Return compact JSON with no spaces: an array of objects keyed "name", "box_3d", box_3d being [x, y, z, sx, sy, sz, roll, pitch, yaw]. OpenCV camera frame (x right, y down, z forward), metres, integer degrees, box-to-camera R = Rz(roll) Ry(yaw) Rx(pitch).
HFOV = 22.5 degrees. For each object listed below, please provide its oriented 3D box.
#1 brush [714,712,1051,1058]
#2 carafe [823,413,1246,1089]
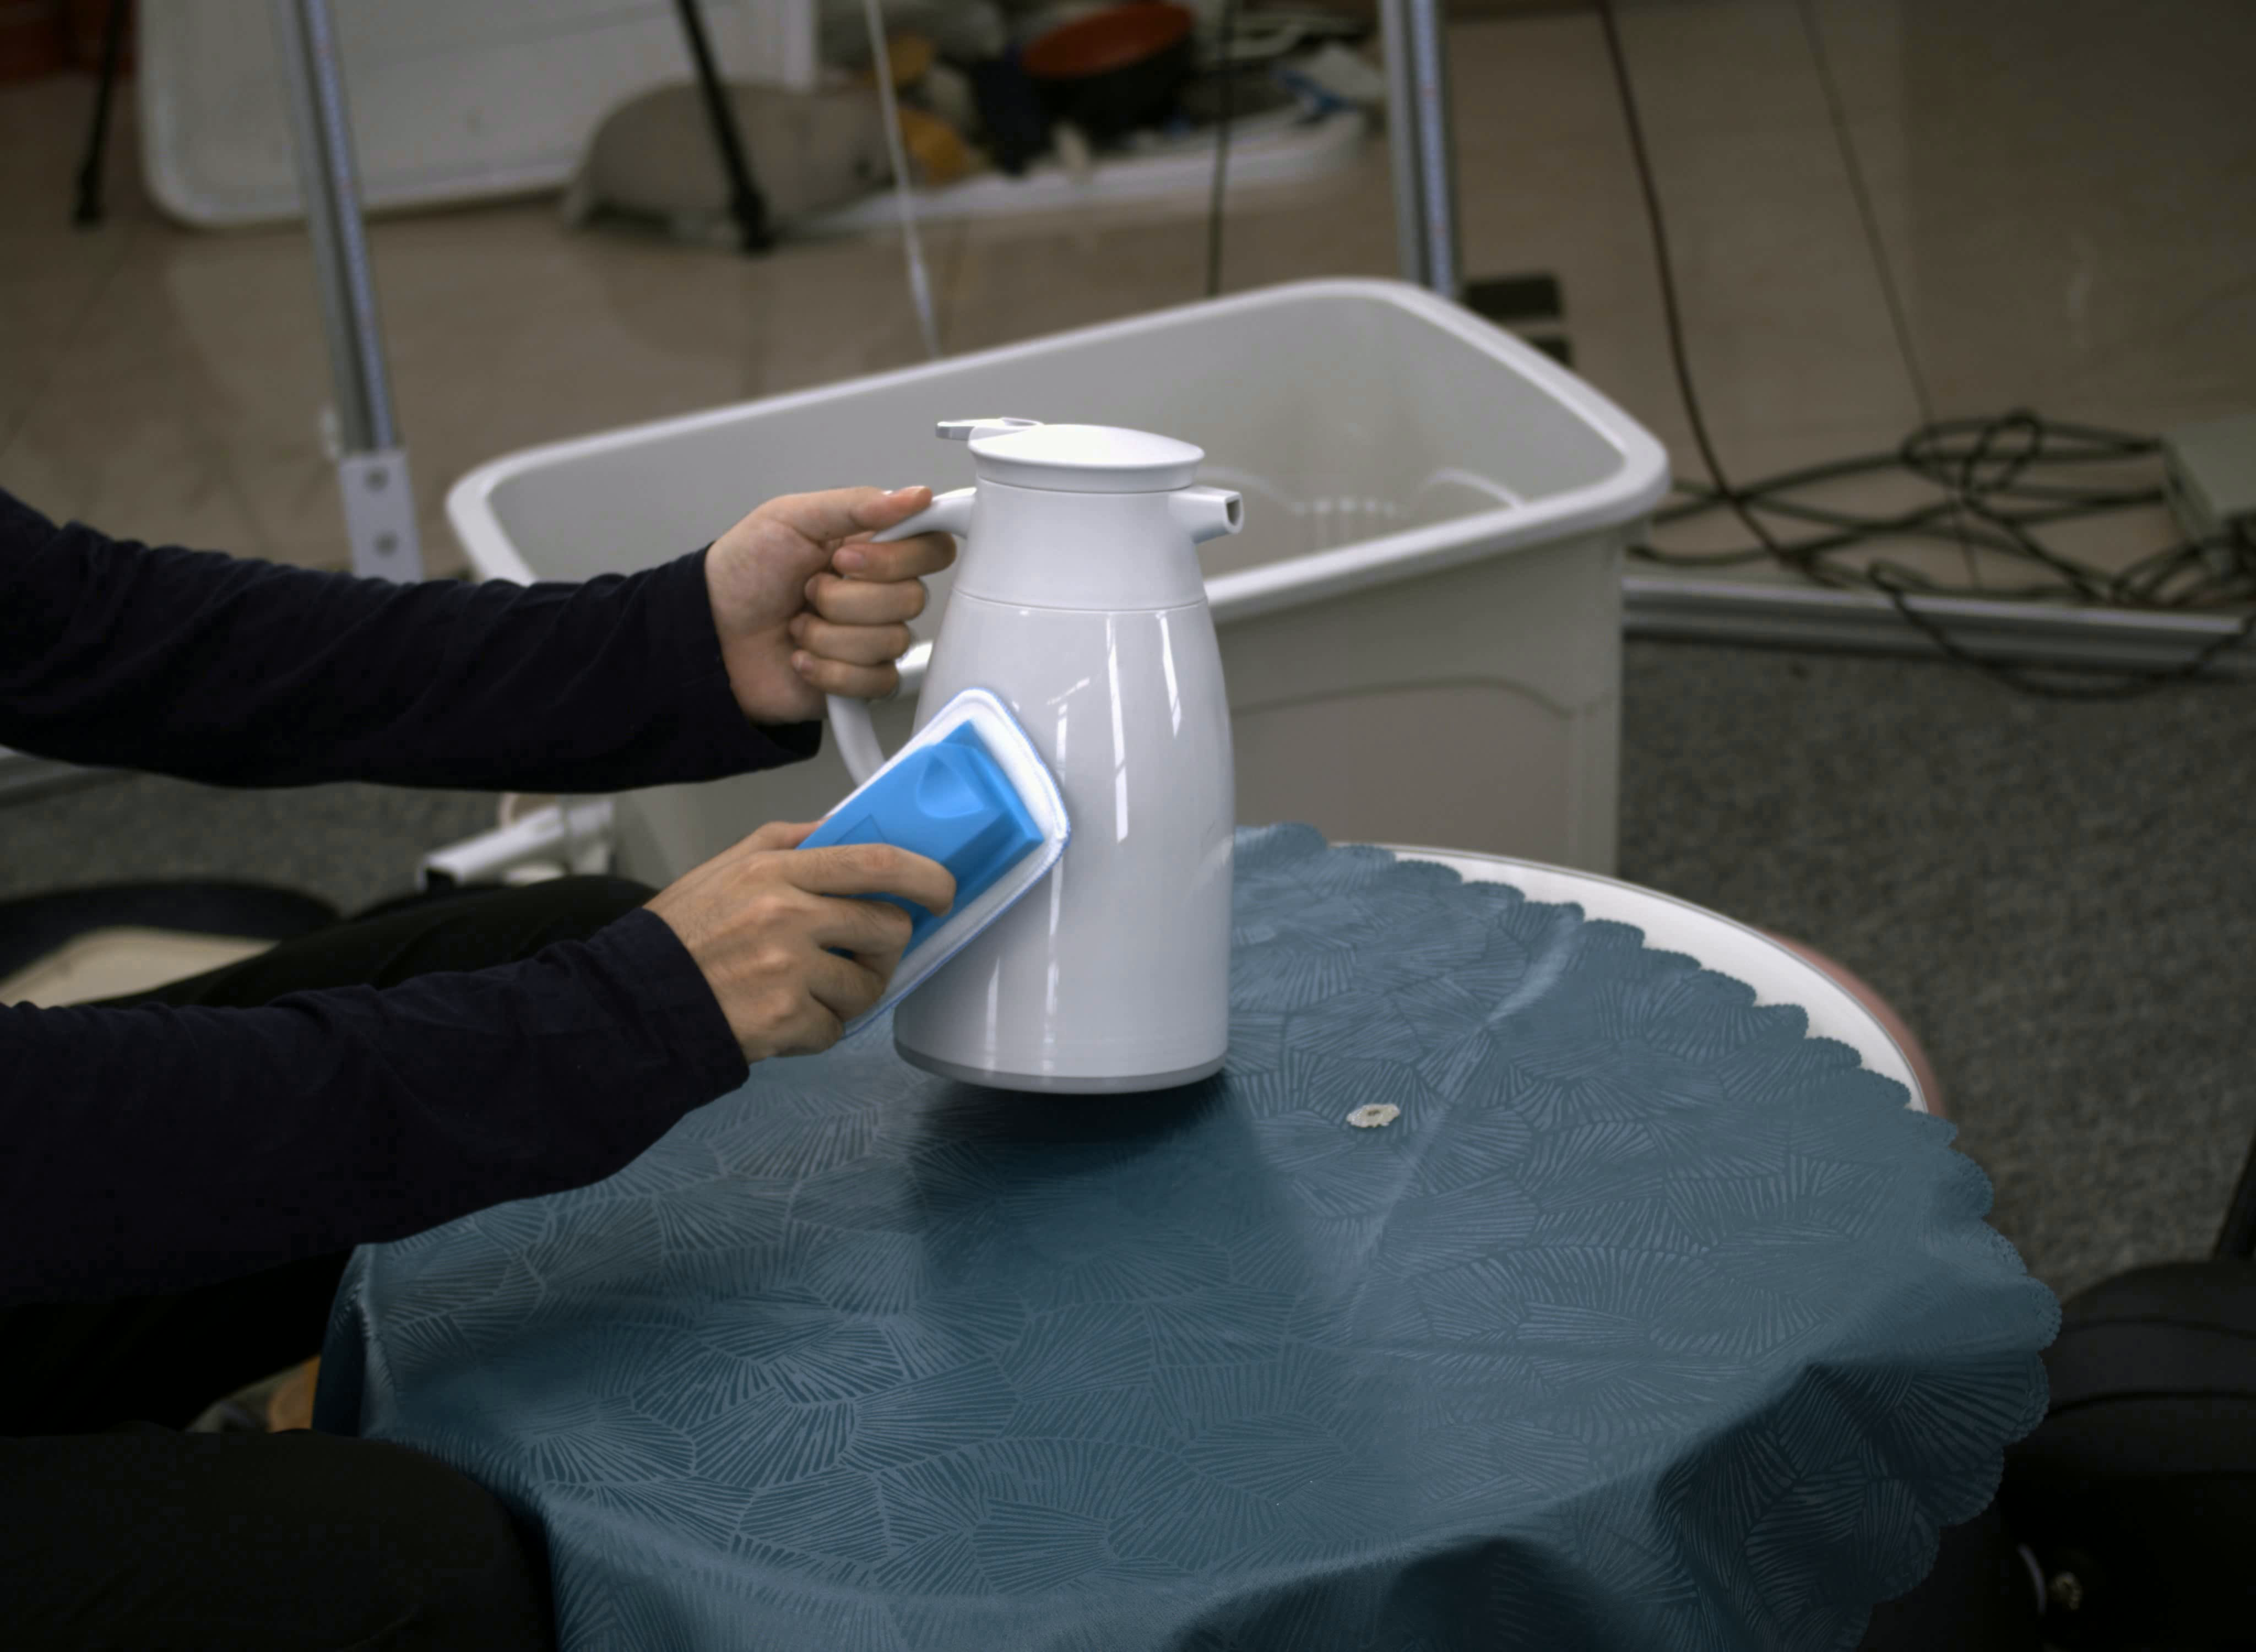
[{"name":"brush","box_3d":[-0.100,0.019,2.134,0.145,0.083,0.056,-37,-24,21]},{"name":"carafe","box_3d":[-0.039,-0.035,2.197,0.167,0.251,0.131,5,13,17]}]
